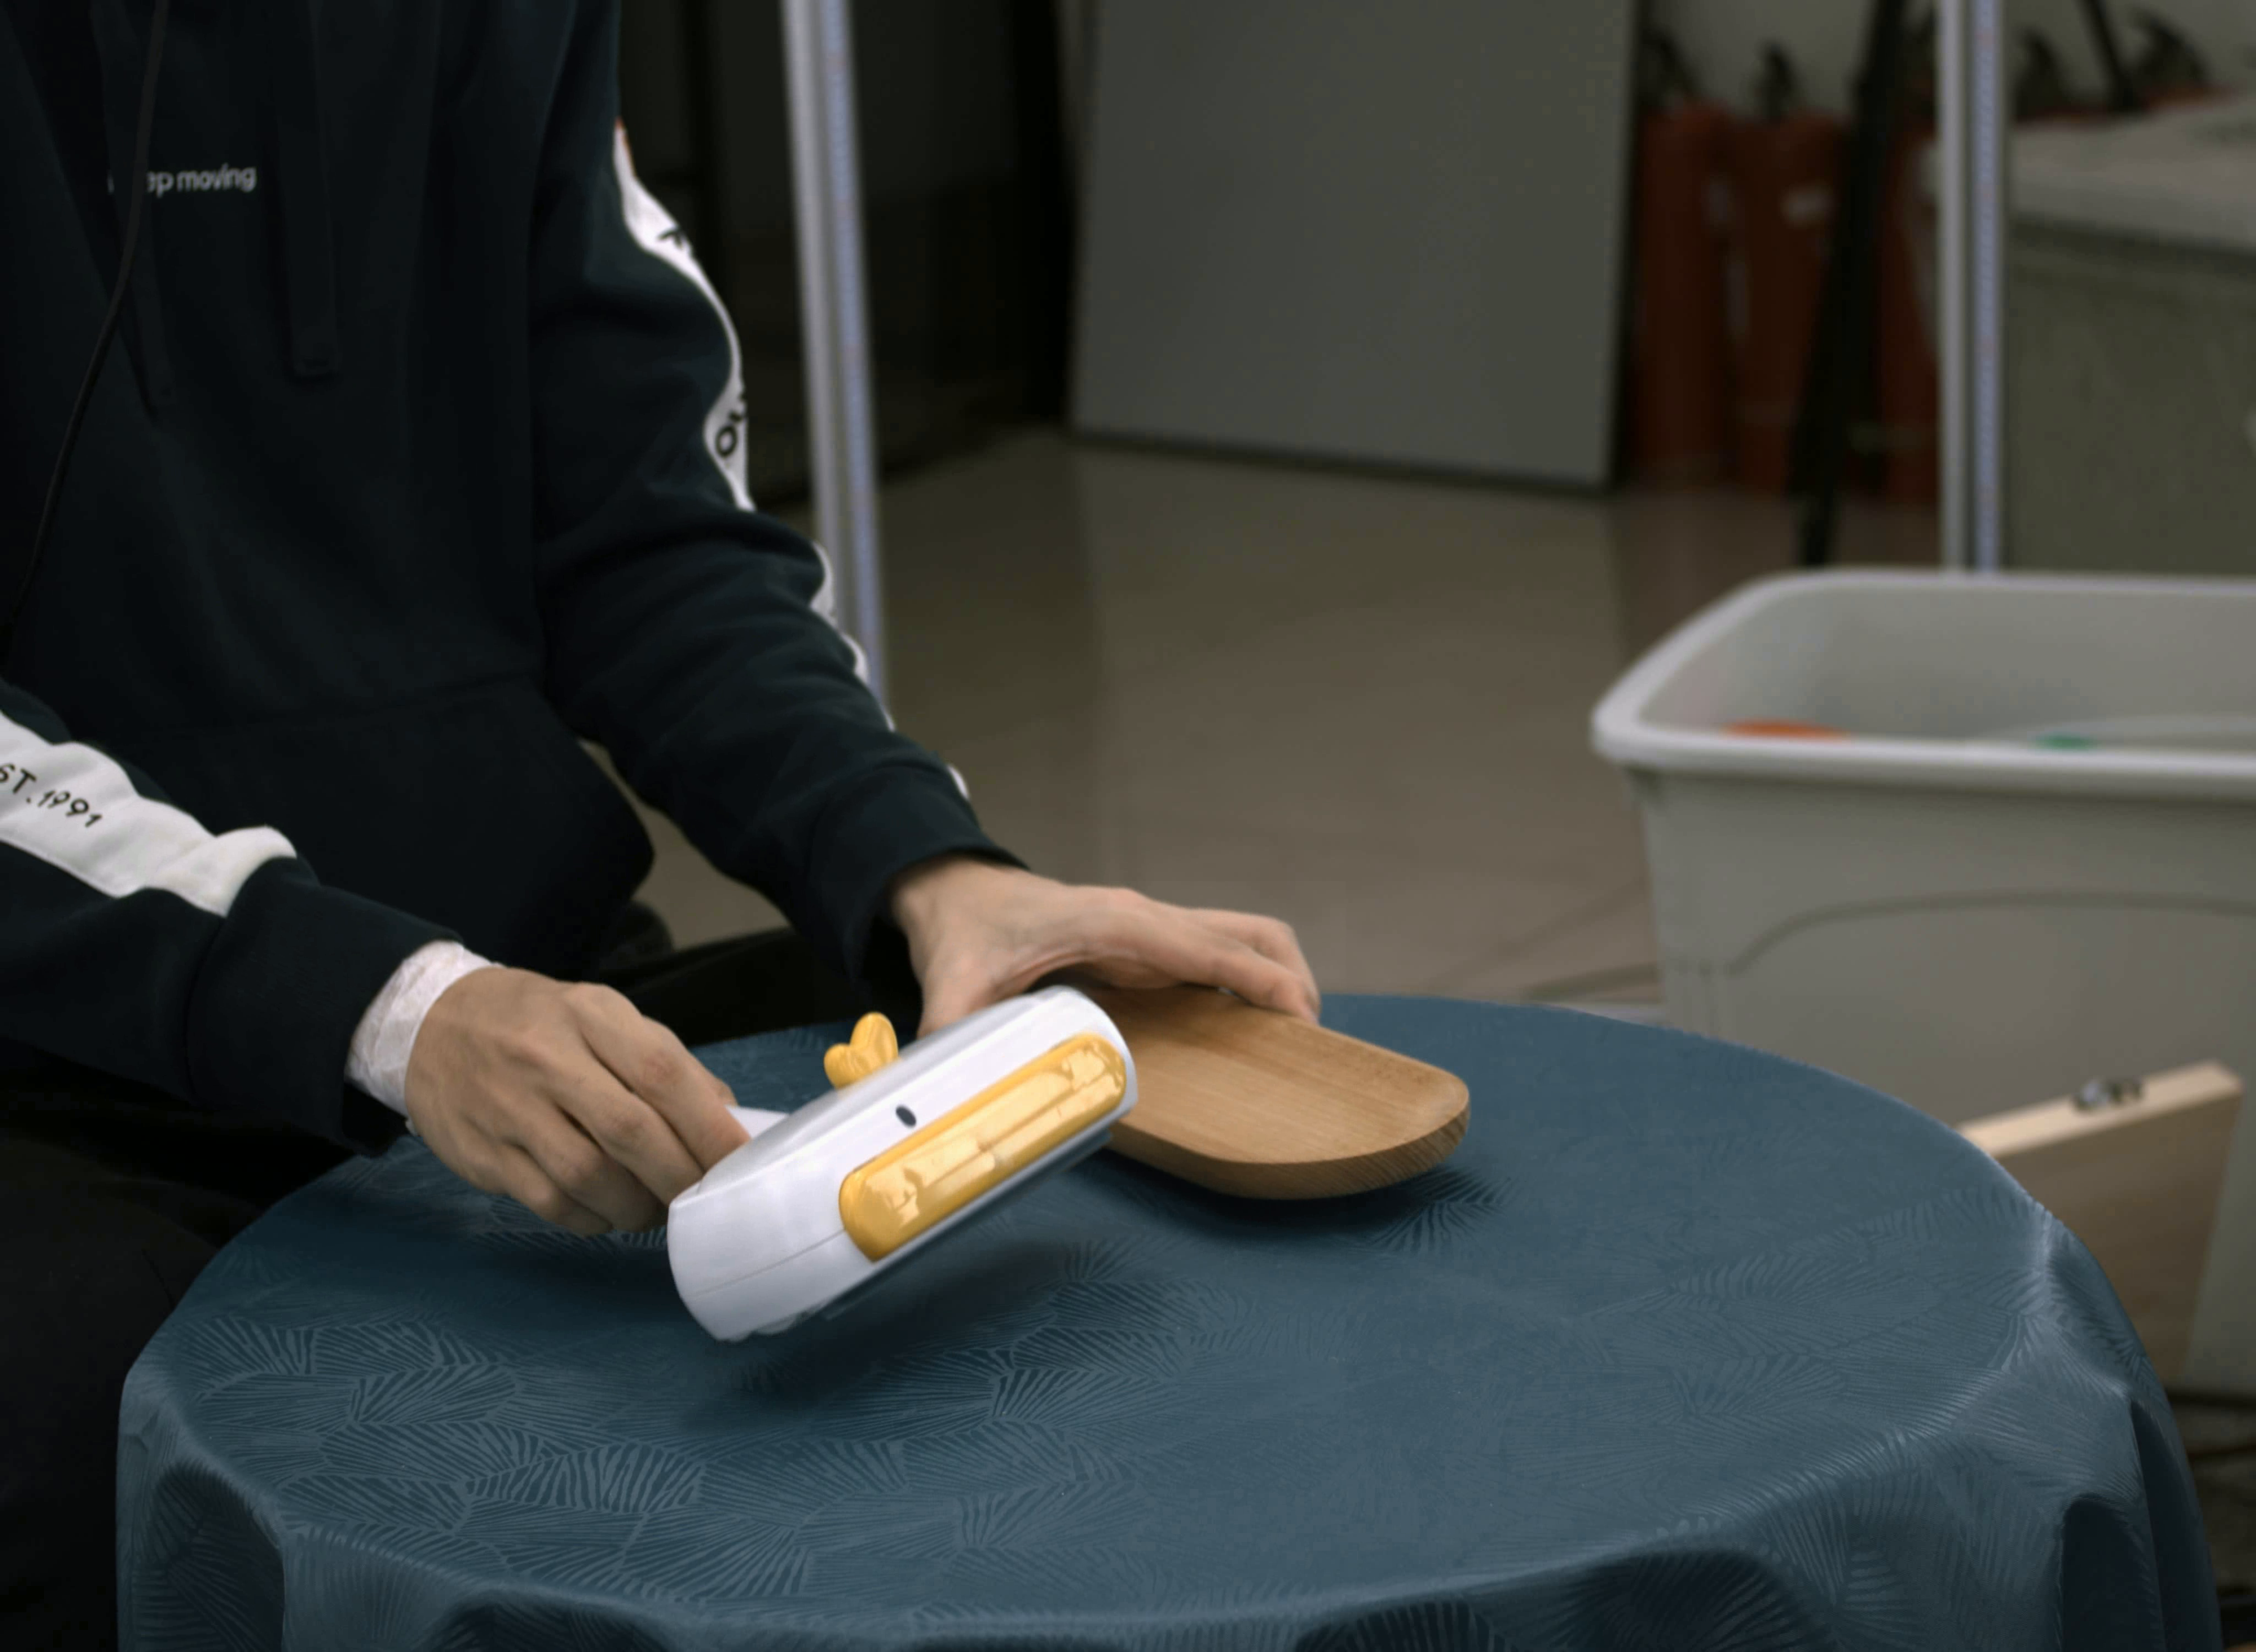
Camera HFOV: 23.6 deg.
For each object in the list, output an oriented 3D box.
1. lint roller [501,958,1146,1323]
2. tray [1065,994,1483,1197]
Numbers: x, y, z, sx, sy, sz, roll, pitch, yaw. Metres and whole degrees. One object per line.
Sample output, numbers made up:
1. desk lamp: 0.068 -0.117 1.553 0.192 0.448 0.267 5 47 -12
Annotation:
1. lint roller: -0.113 0.100 1.693 0.193 0.074 0.190 -13 15 35
2. tray: 0.031 0.089 1.810 0.099 0.020 0.233 -17 18 -29
